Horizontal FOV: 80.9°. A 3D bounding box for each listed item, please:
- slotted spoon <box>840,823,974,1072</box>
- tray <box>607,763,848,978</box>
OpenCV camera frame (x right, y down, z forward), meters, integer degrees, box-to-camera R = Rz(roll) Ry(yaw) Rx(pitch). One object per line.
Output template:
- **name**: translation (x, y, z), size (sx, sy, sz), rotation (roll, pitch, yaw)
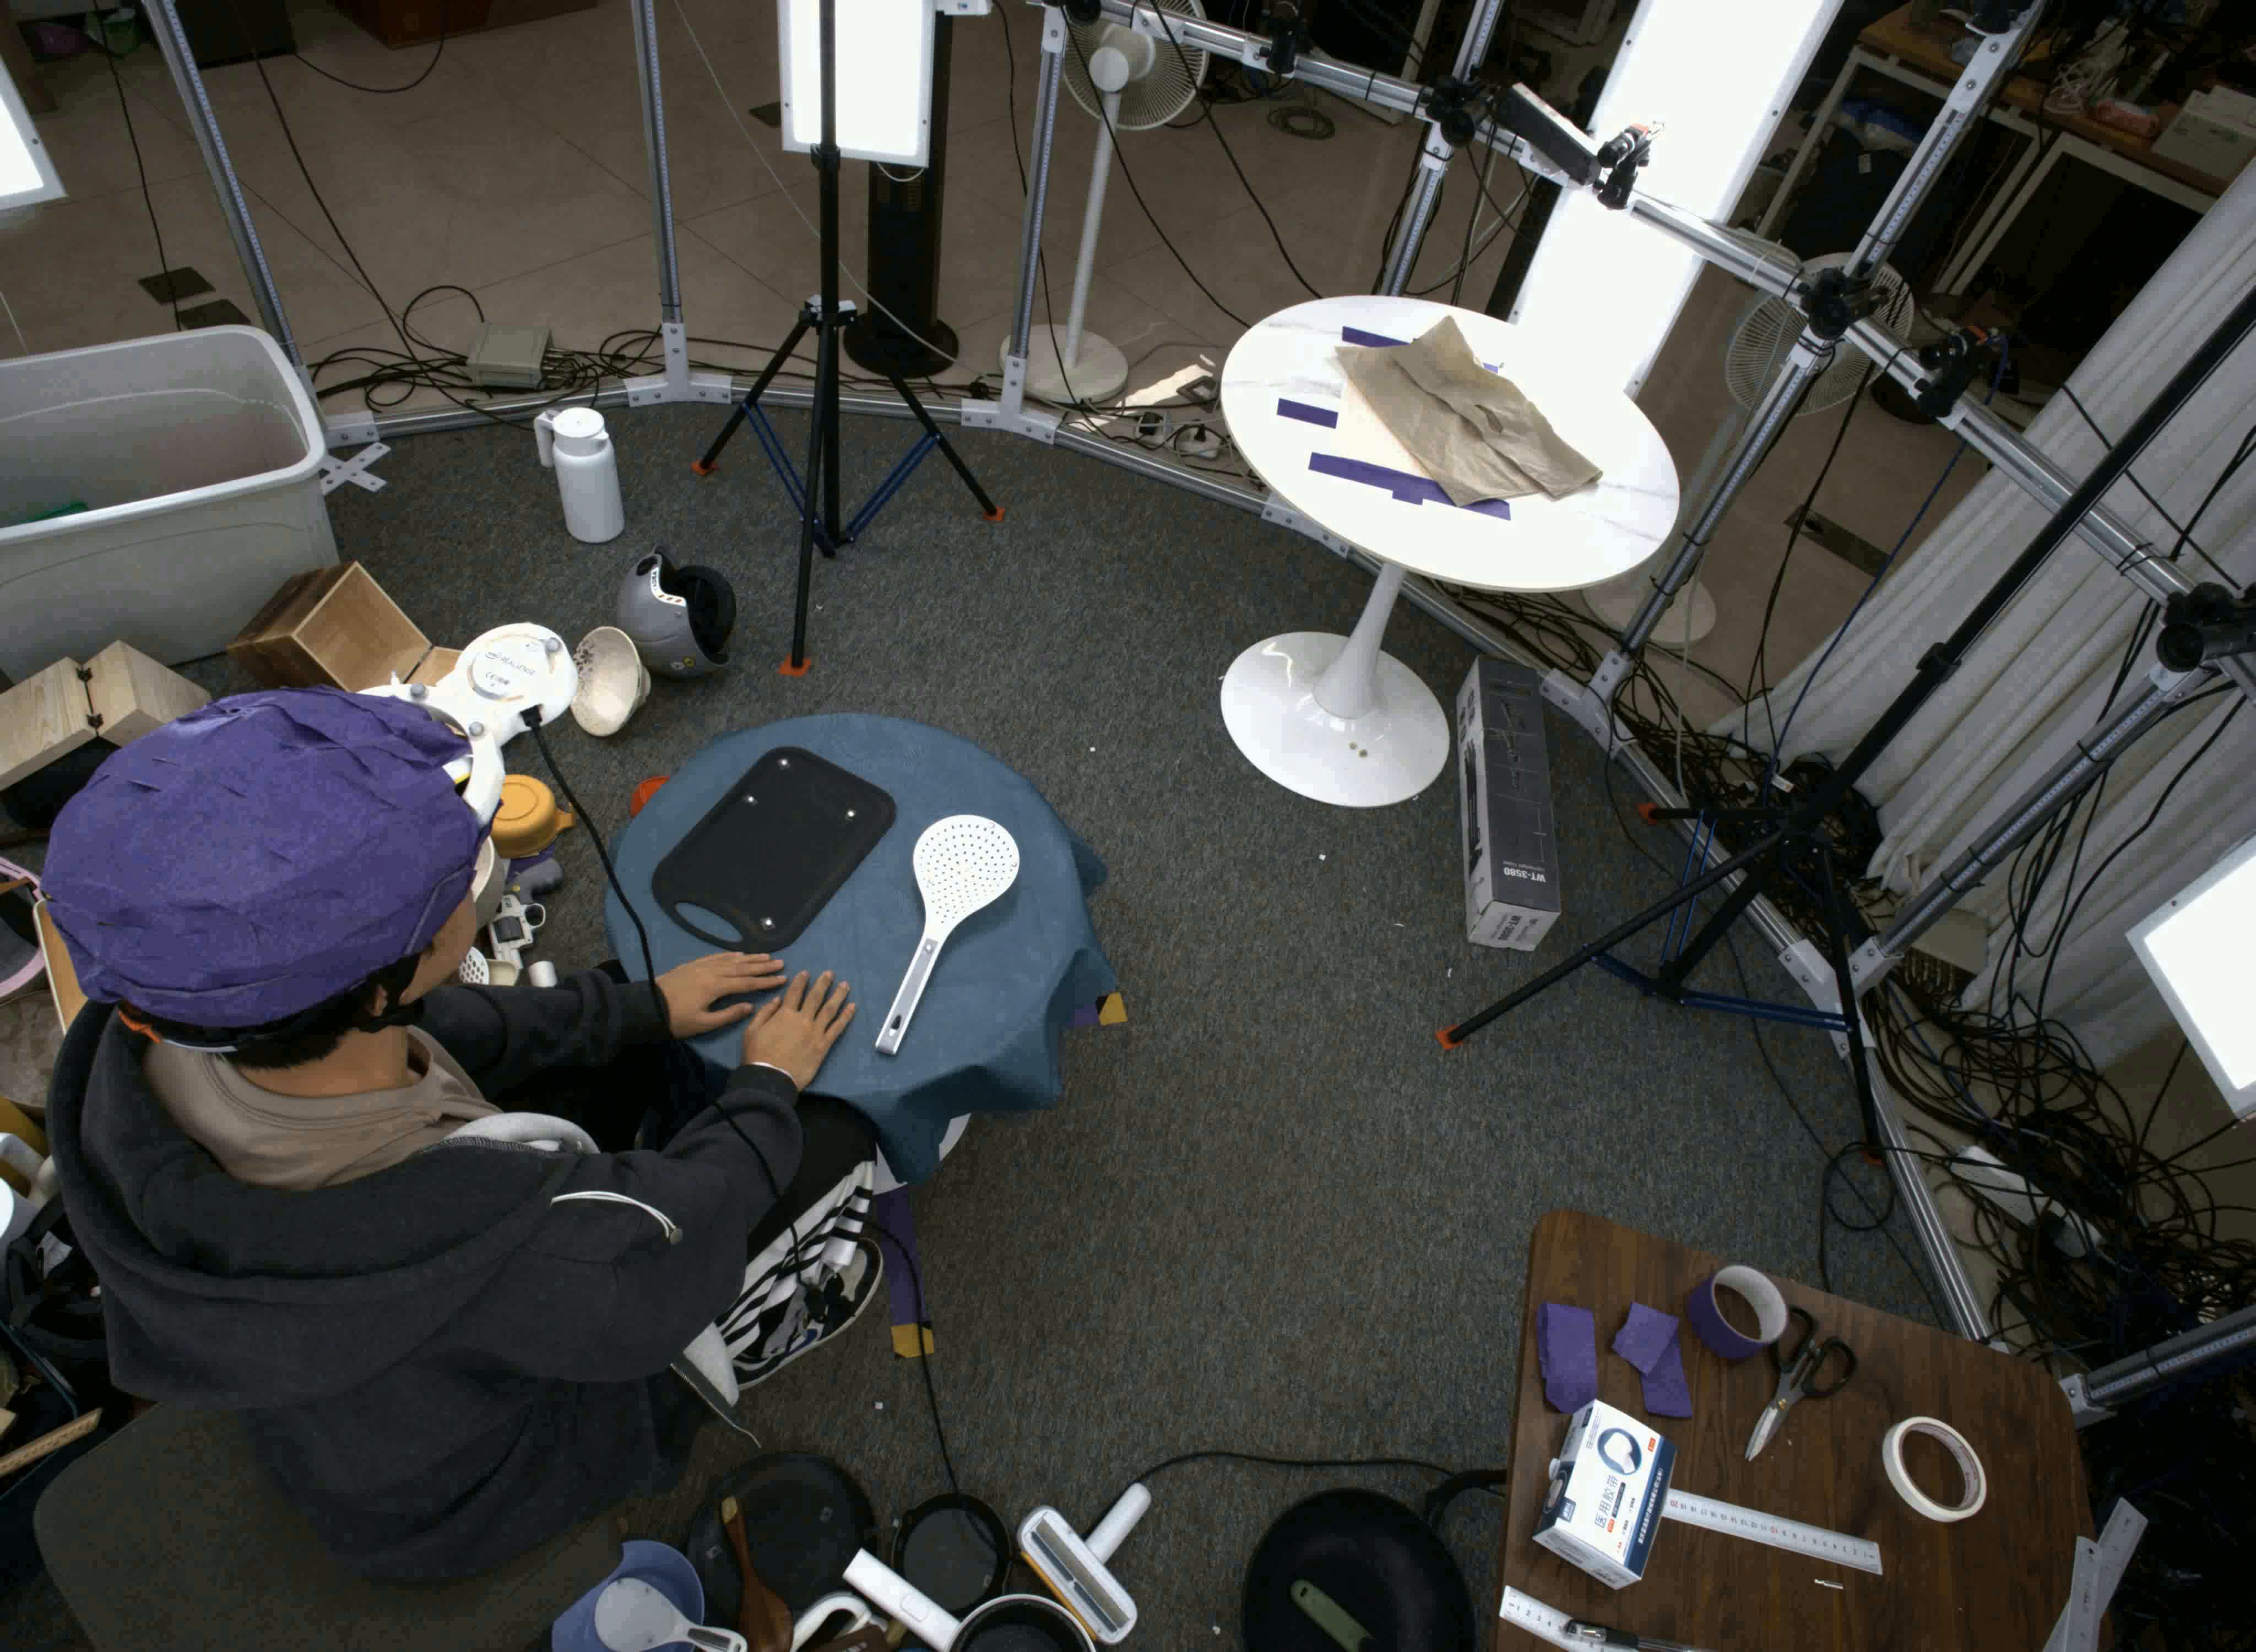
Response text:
- **slotted spoon**: translation (-0.290, 0.144, 1.627), size (0.135, 0.047, 0.345), rotation (15, 53, 0)
- **tray**: translation (-0.517, 0.052, 1.662), size (0.208, 0.010, 0.323), rotation (25, 52, 5)
